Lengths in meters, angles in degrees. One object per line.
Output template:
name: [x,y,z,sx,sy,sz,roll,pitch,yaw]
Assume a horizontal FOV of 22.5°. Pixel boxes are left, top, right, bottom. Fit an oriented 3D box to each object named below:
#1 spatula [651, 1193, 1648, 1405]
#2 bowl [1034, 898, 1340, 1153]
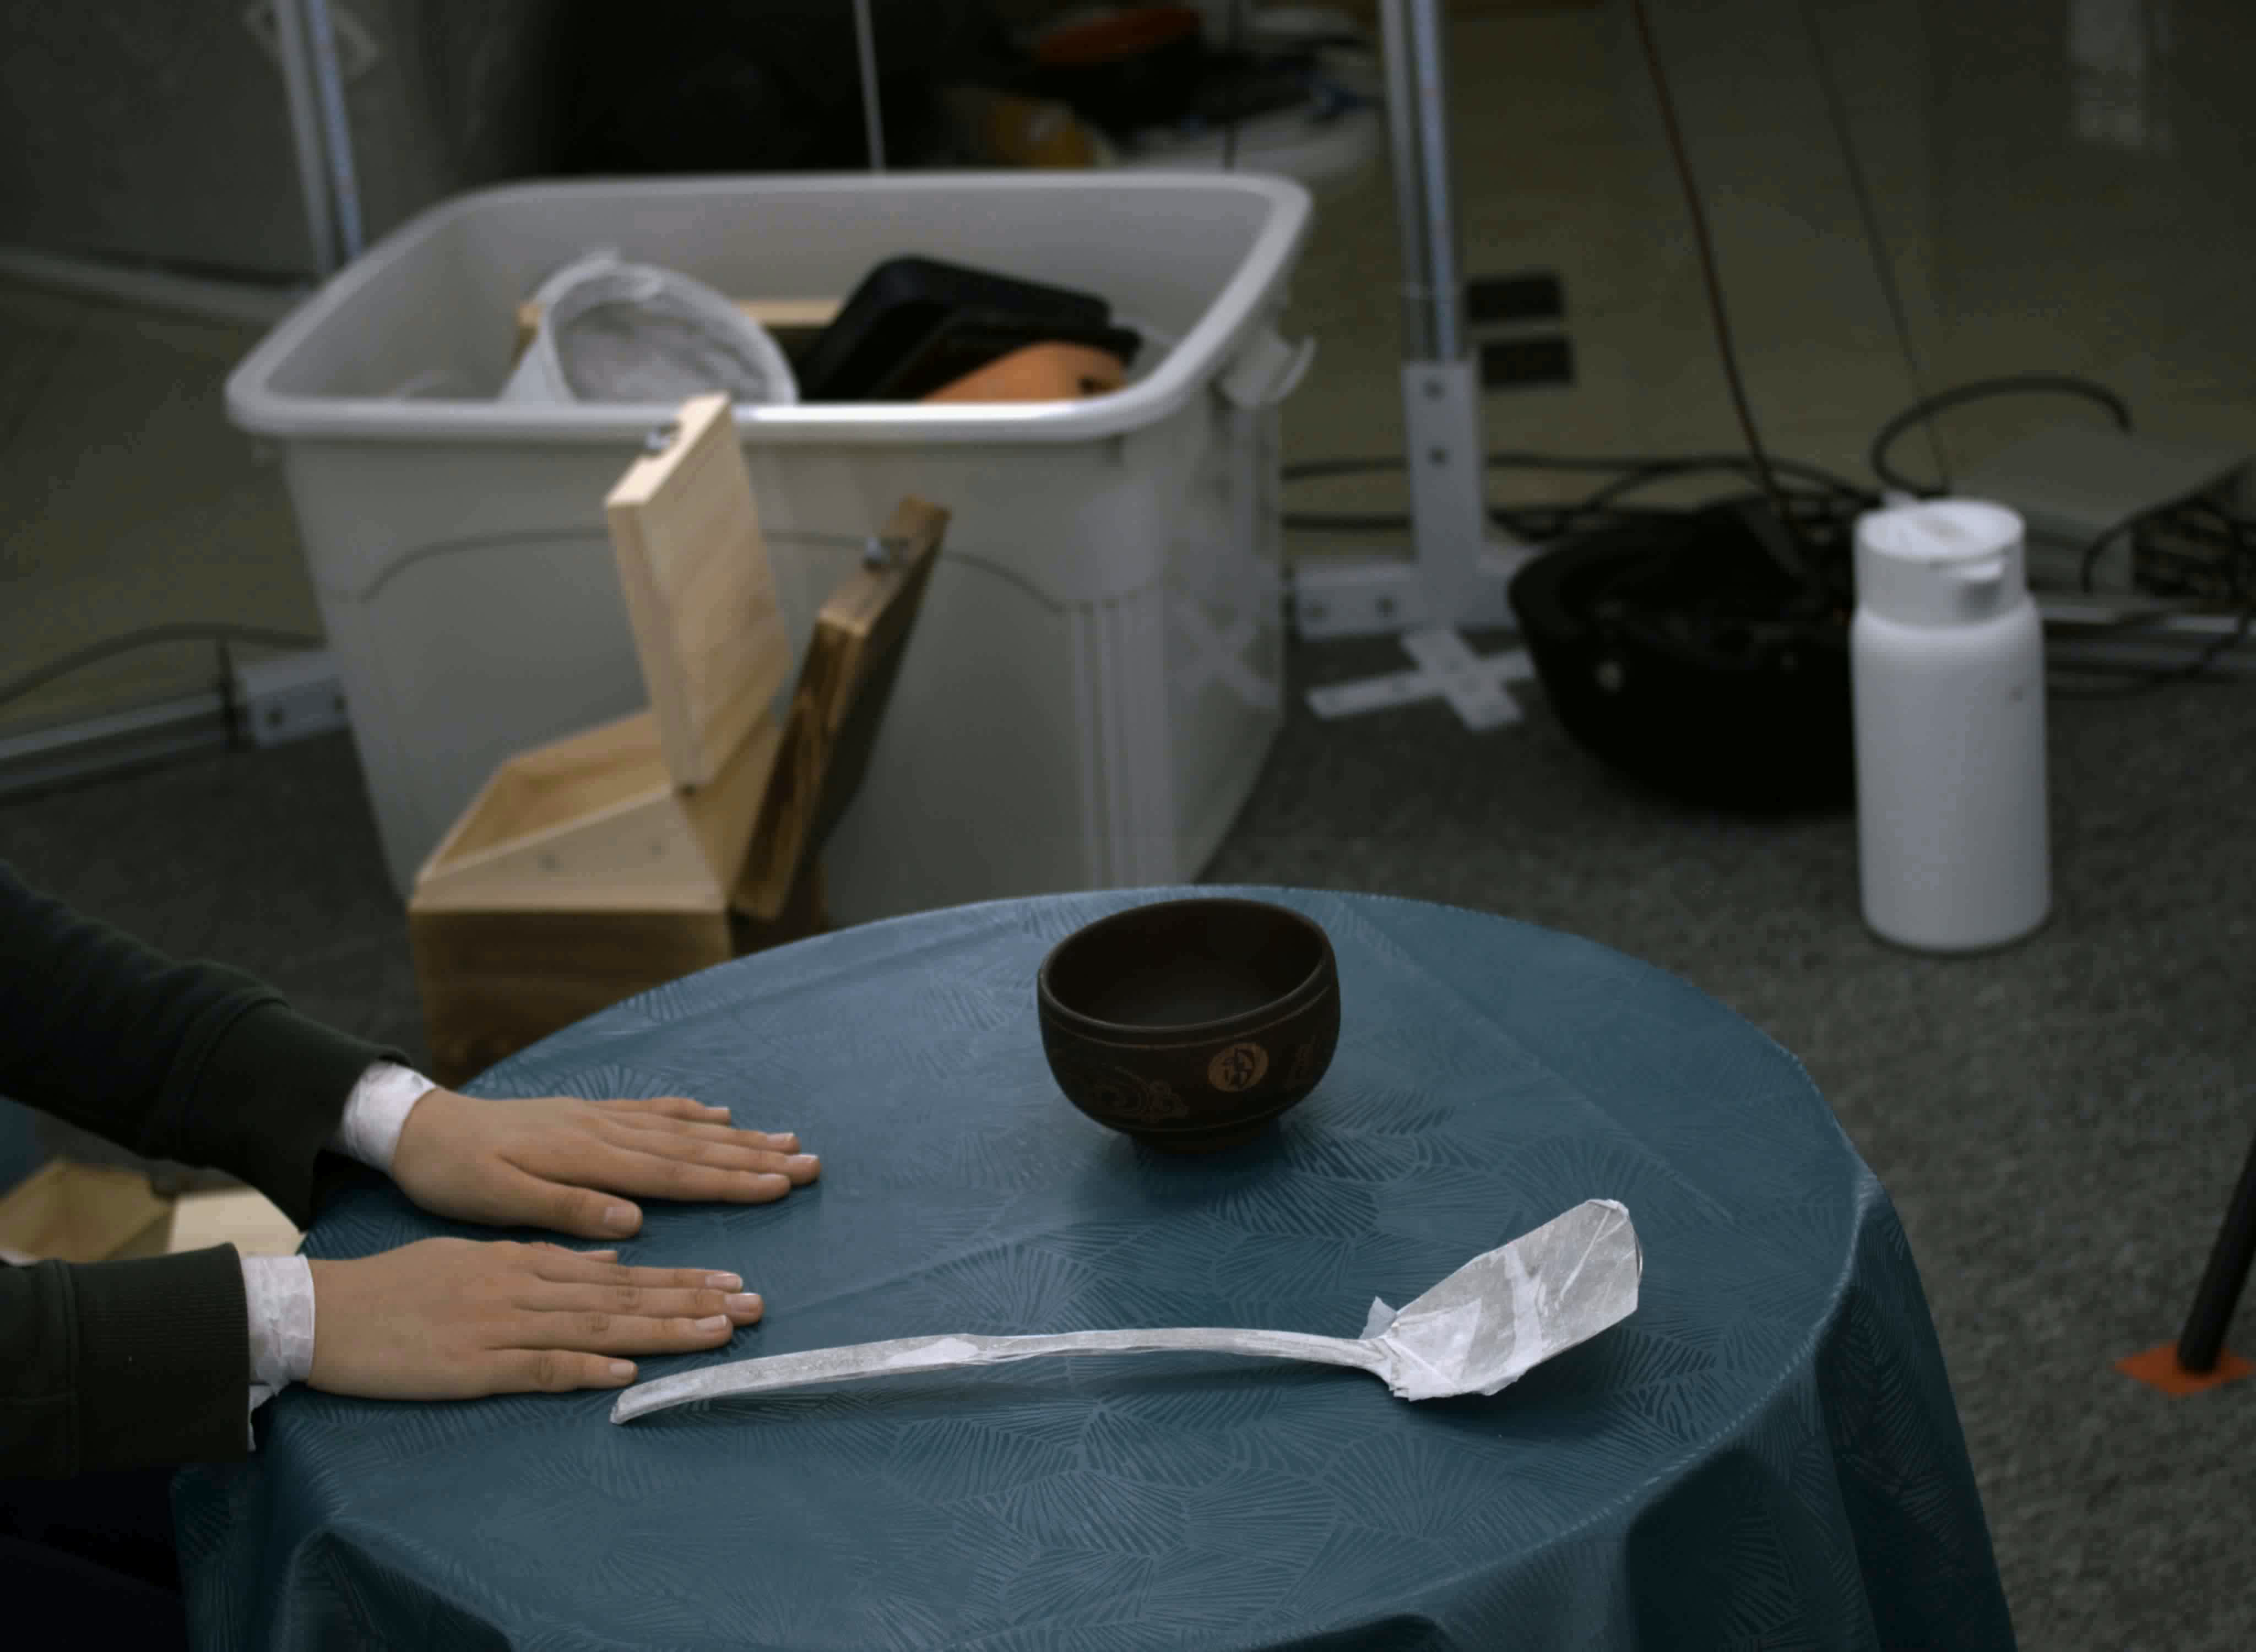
spatula: [0.004,0.179,2.020,0.364,0.045,0.097,-3,27,6]
bowl: [0.024,0.083,2.182,0.118,0.071,0.116,-6,23,3]
